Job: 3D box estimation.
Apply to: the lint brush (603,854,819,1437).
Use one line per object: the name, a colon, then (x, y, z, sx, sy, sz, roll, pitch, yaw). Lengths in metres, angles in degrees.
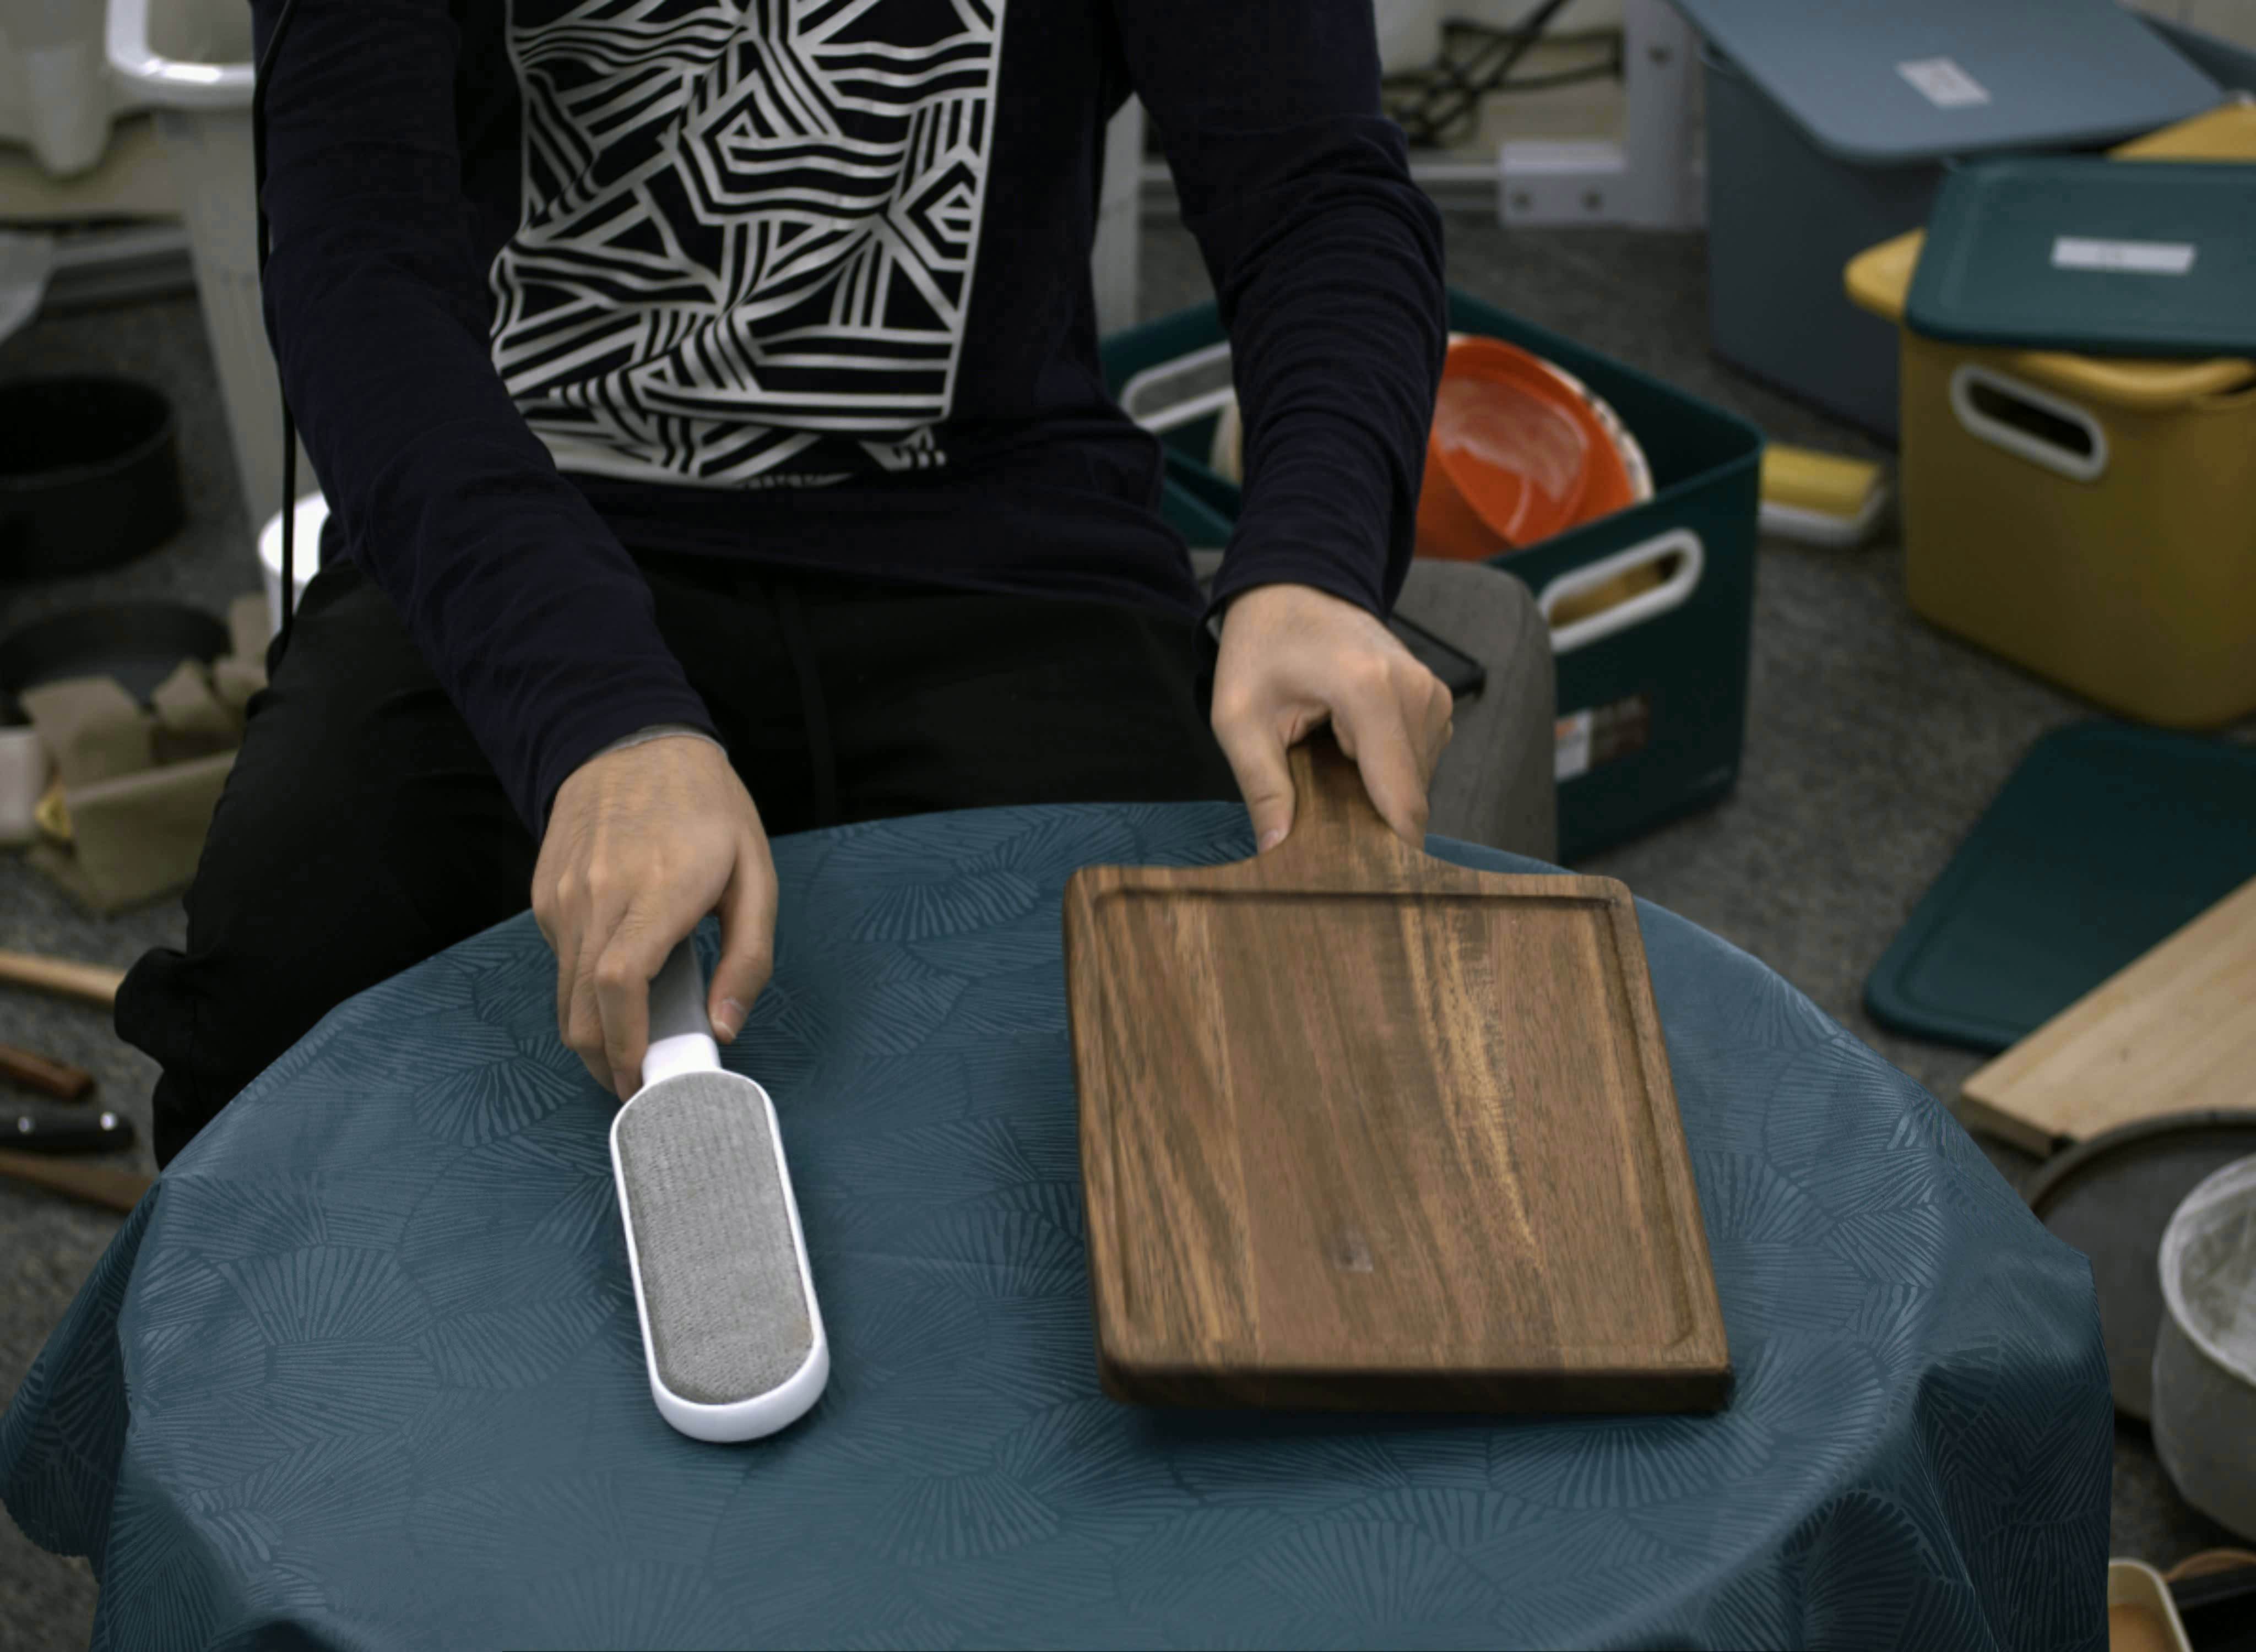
lint brush: (-0.144, 0.099, 1.855, 0.060, 0.020, 0.313, -20, 34, 1)

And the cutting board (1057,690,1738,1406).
cutting board: (0.079, 0.065, 1.857, 0.200, 0.023, 0.358, 3, 36, -6)
